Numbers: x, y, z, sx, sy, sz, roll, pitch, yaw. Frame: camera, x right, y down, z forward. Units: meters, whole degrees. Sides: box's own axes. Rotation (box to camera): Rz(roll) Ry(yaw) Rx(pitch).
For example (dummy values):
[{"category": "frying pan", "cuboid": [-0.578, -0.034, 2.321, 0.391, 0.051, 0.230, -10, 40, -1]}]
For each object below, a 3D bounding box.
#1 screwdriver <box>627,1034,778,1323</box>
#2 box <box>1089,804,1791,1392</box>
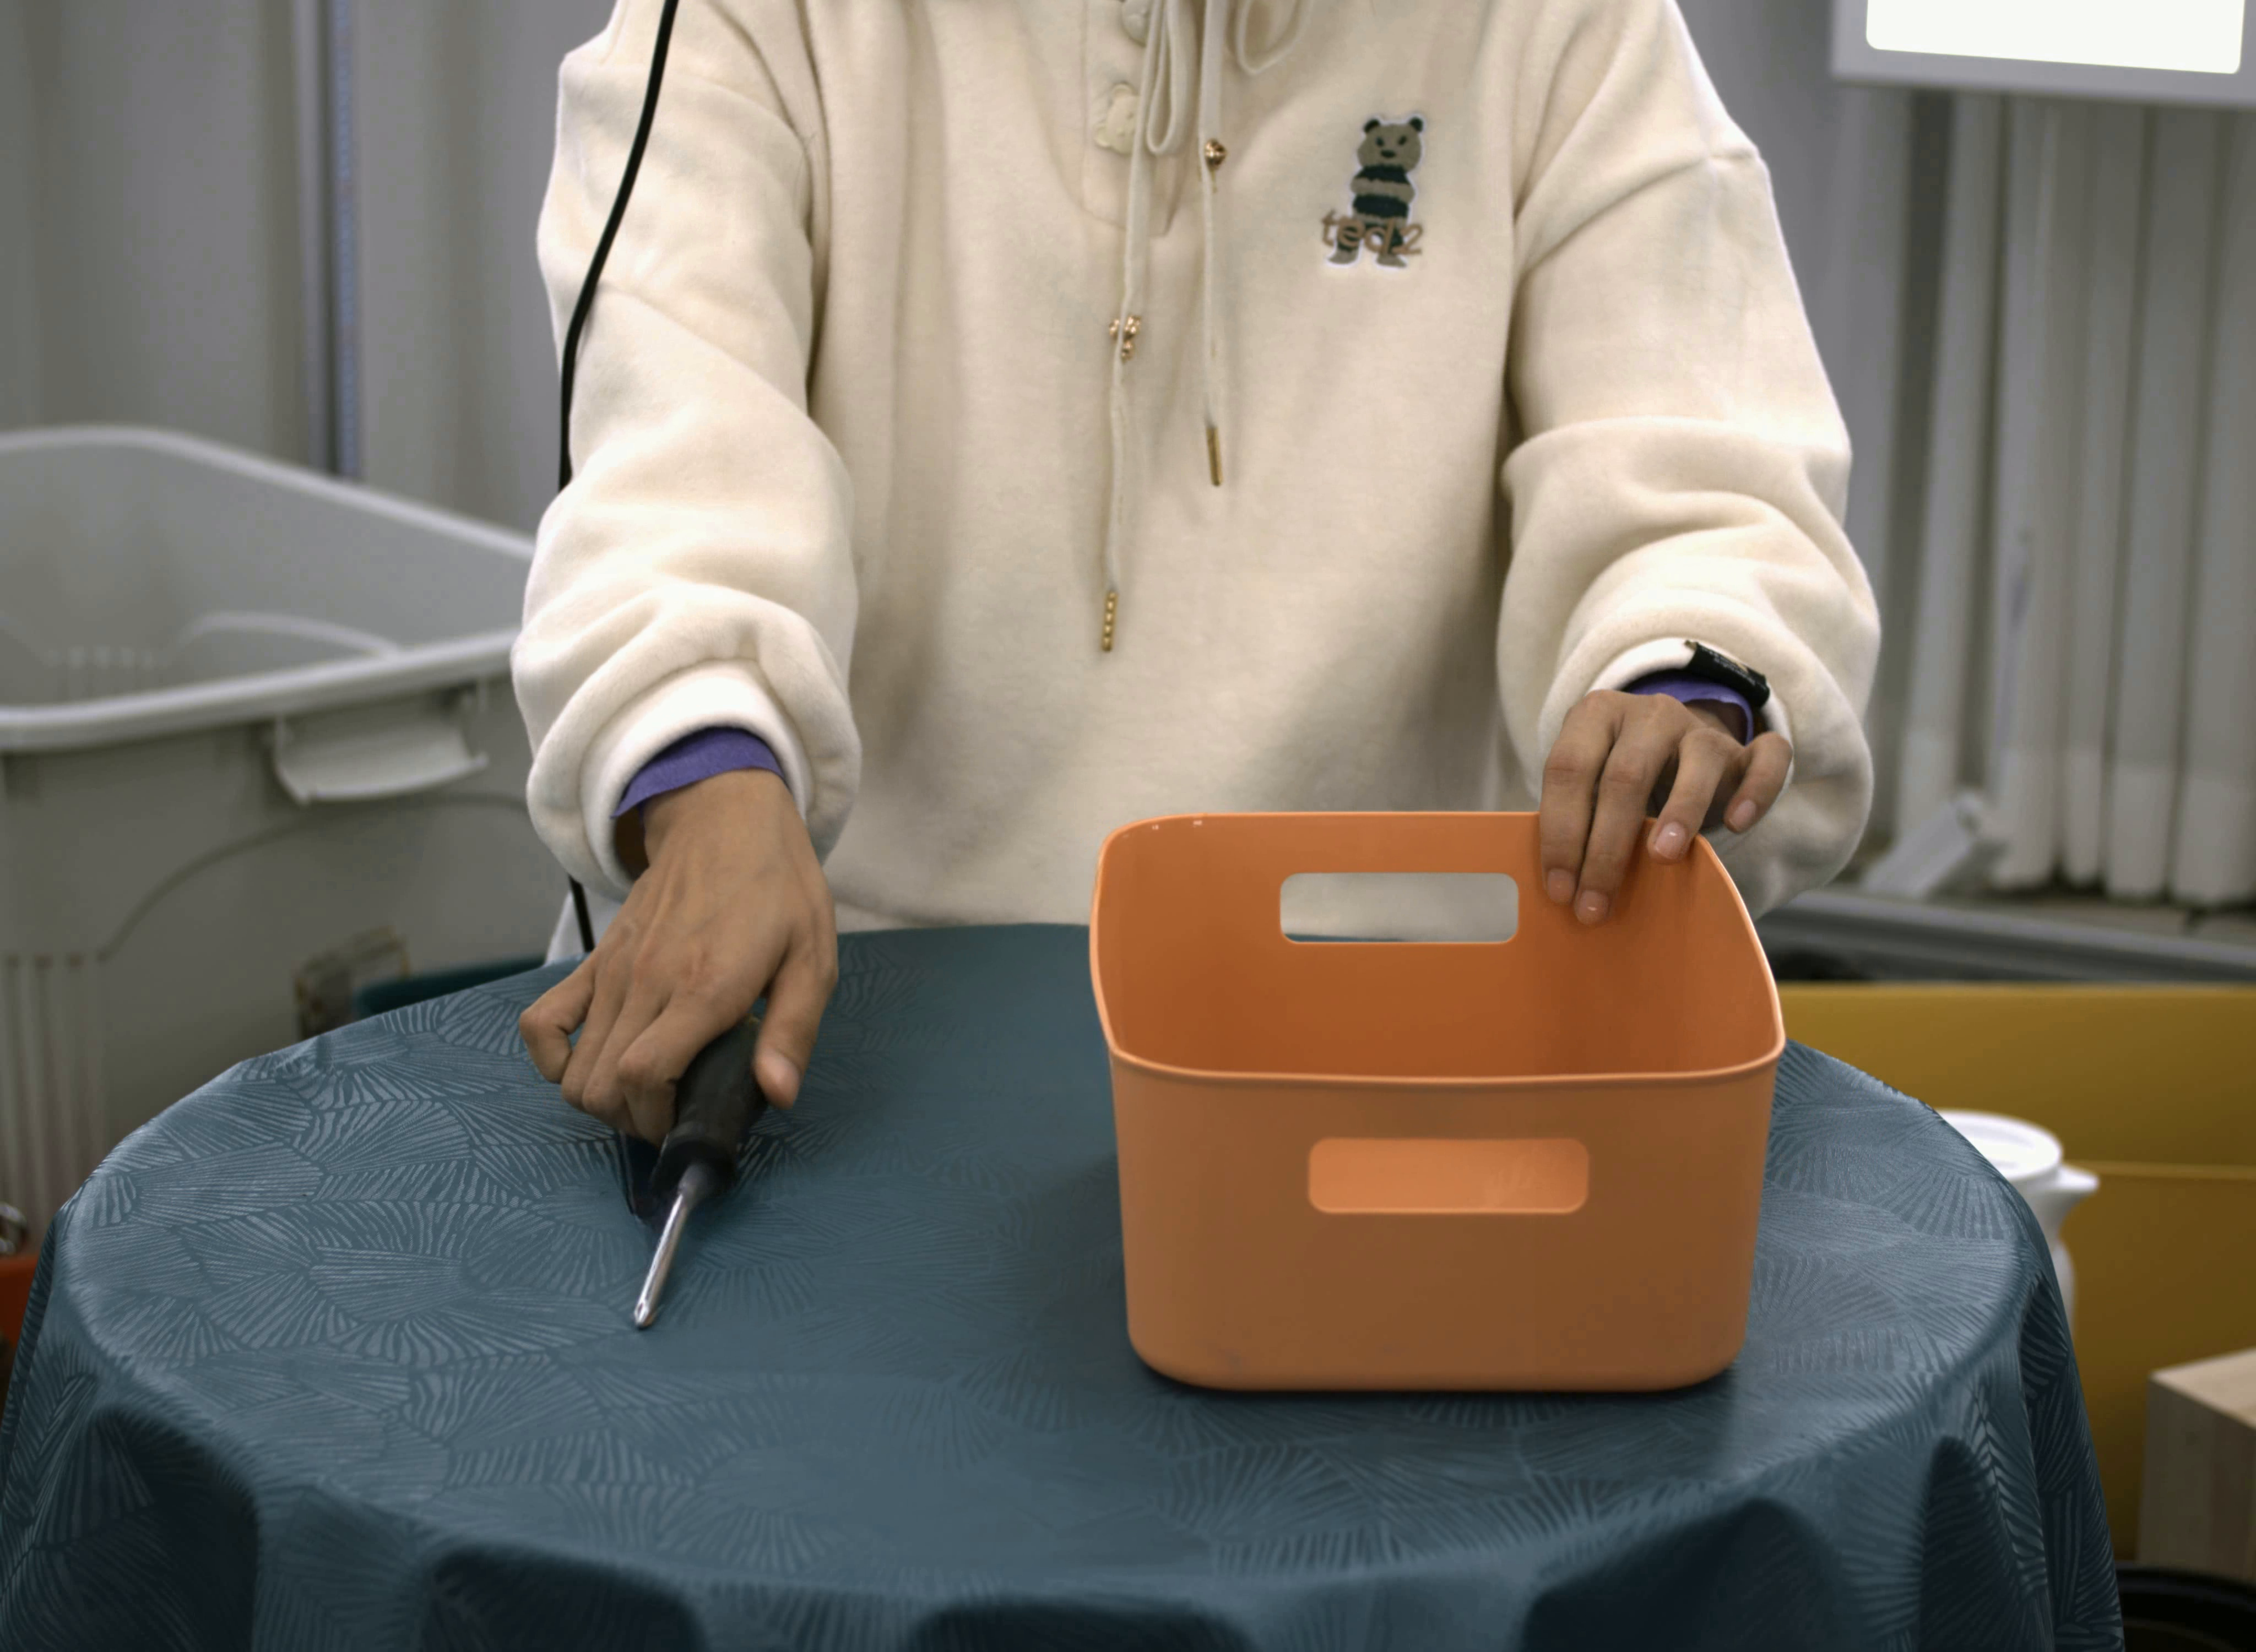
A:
[{"category": "screwdriver", "cuboid": [-0.134, 0.110, 1.590, 0.031, 0.032, 0.195, 3, 22, 7]}, {"category": "box", "cuboid": [0.088, 0.077, 1.553, 0.199, 0.103, 0.271, -1, 16, -1]}]
